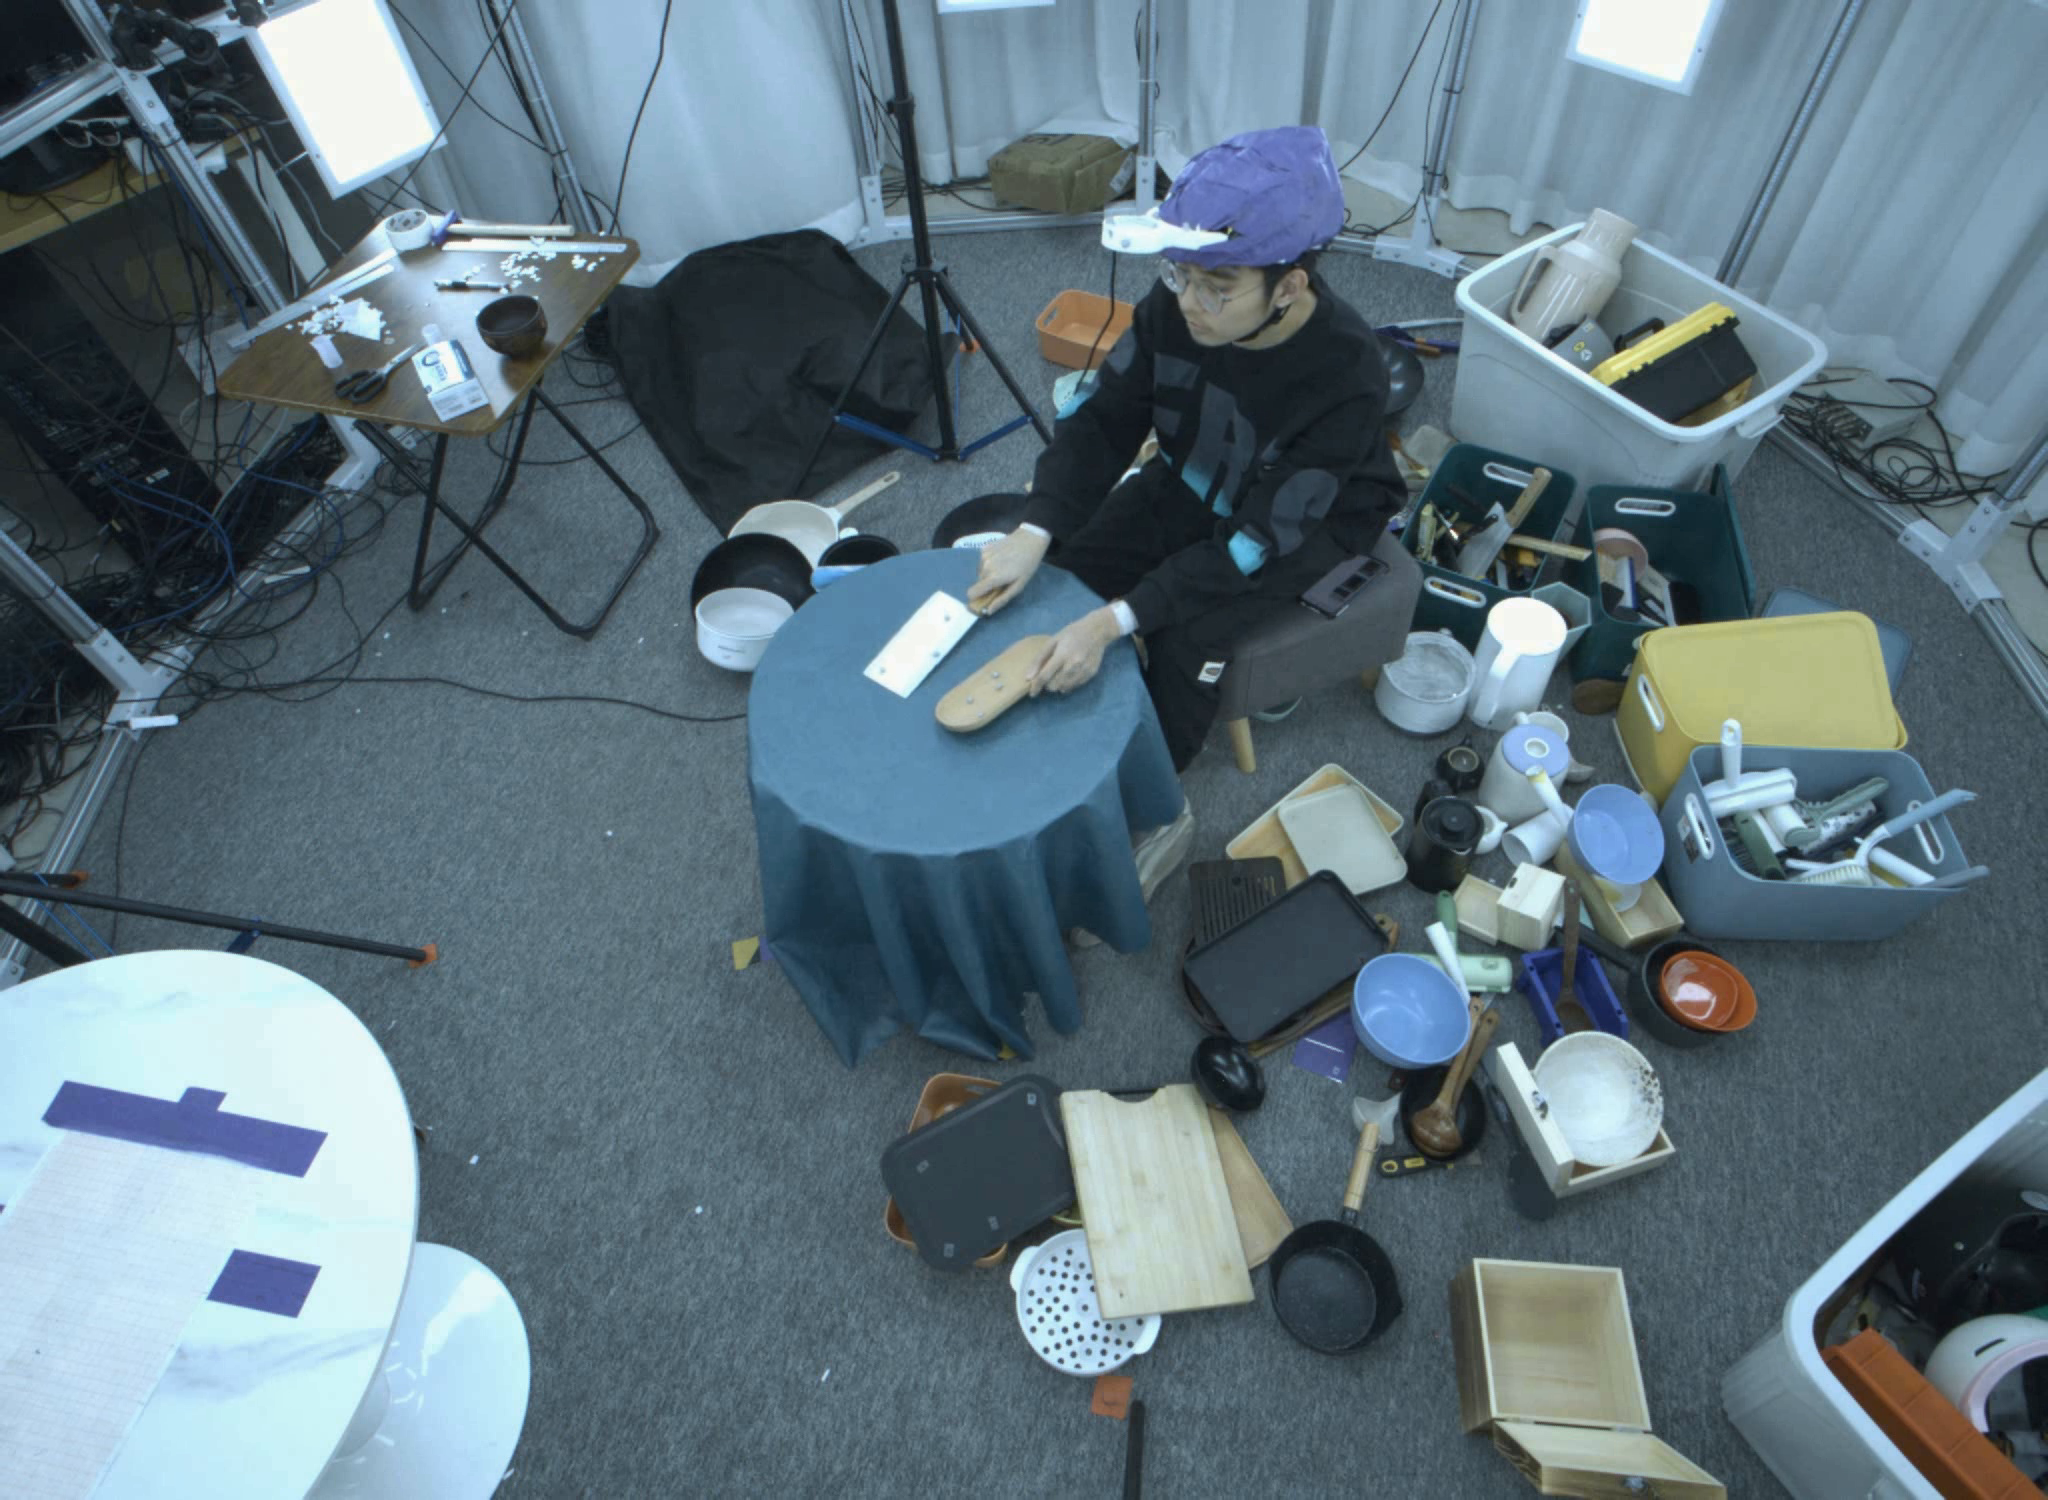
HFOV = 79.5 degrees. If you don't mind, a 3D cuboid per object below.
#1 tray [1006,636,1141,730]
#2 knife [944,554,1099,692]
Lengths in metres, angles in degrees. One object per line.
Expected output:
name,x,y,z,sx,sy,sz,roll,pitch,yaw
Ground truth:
tray,0.075,-0.101,1.830,0.233,0.020,0.099,-34,42,-20
knife,-0.008,-0.212,1.915,0.091,0.021,0.307,34,69,24
